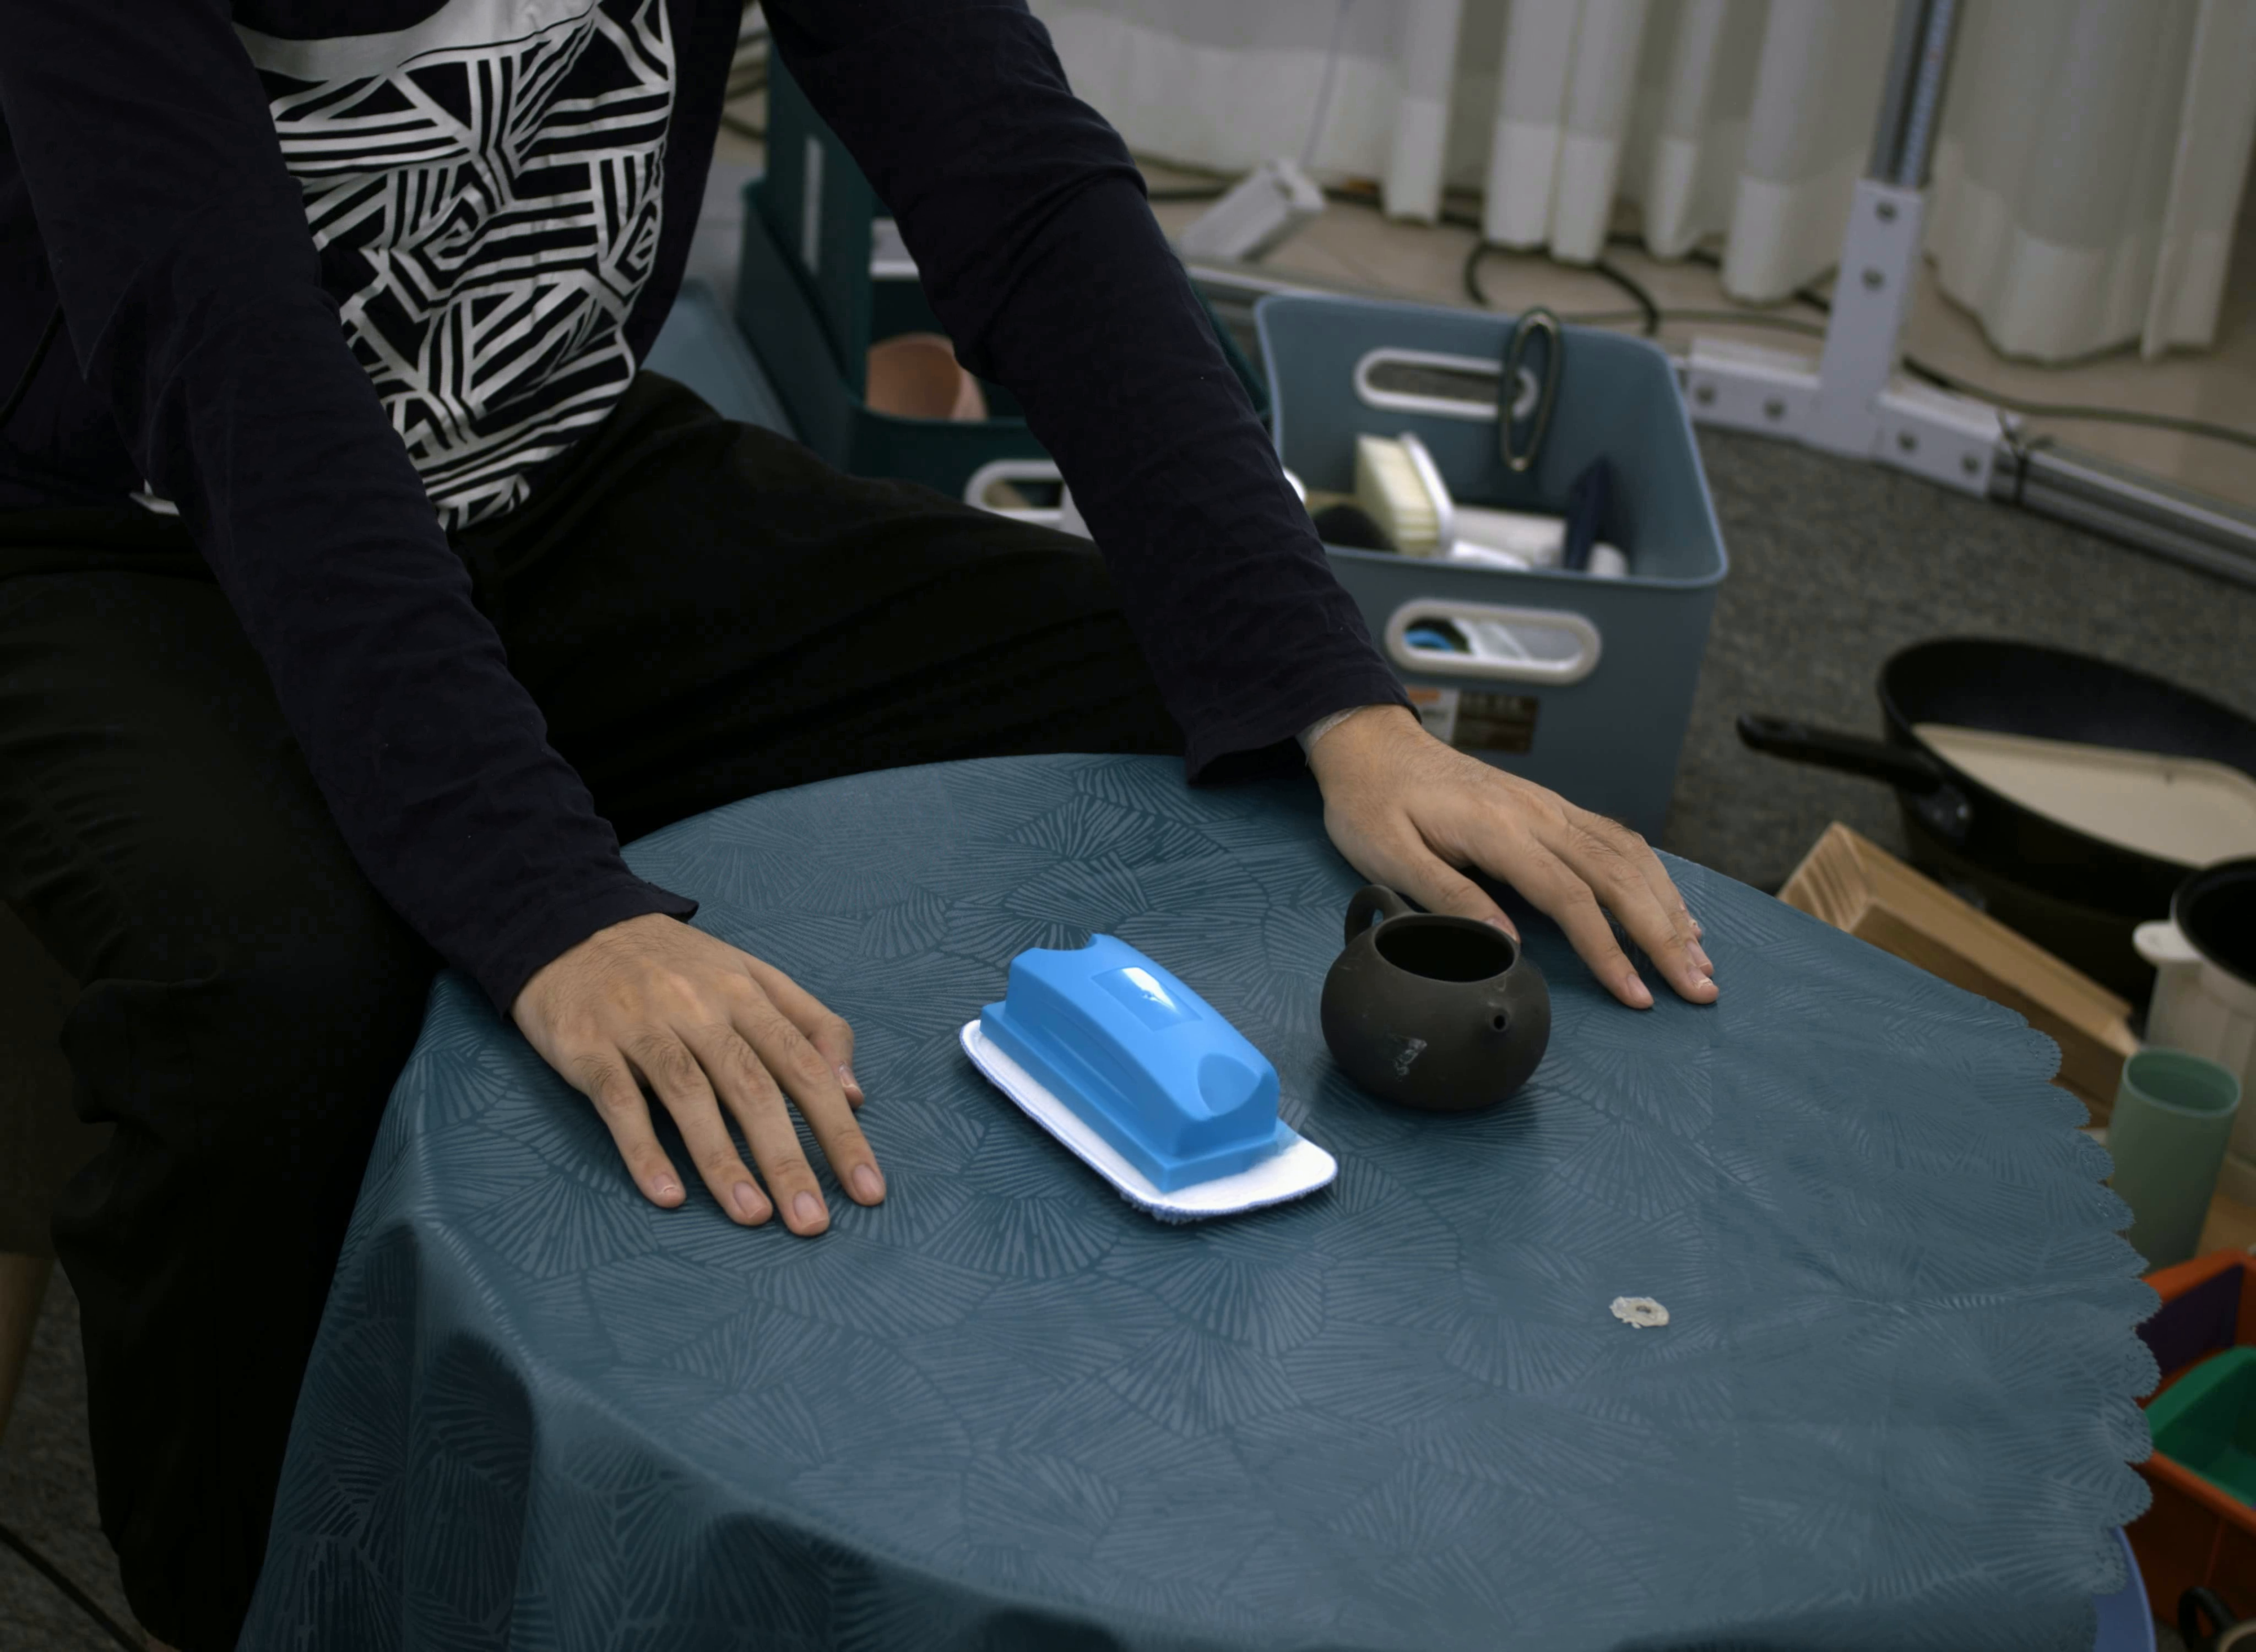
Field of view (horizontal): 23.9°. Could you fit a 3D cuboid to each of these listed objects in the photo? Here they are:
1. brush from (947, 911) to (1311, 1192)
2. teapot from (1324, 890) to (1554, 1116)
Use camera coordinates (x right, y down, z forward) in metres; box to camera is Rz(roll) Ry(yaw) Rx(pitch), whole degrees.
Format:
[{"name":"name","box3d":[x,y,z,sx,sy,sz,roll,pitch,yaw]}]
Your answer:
[{"name":"brush","box3d":[0.003,0.074,1.839,0.083,0.056,0.145,-7,32,-32]},{"name":"teapot","box3d":[0.107,0.061,1.899,0.082,0.053,0.115,0,30,-21]}]
